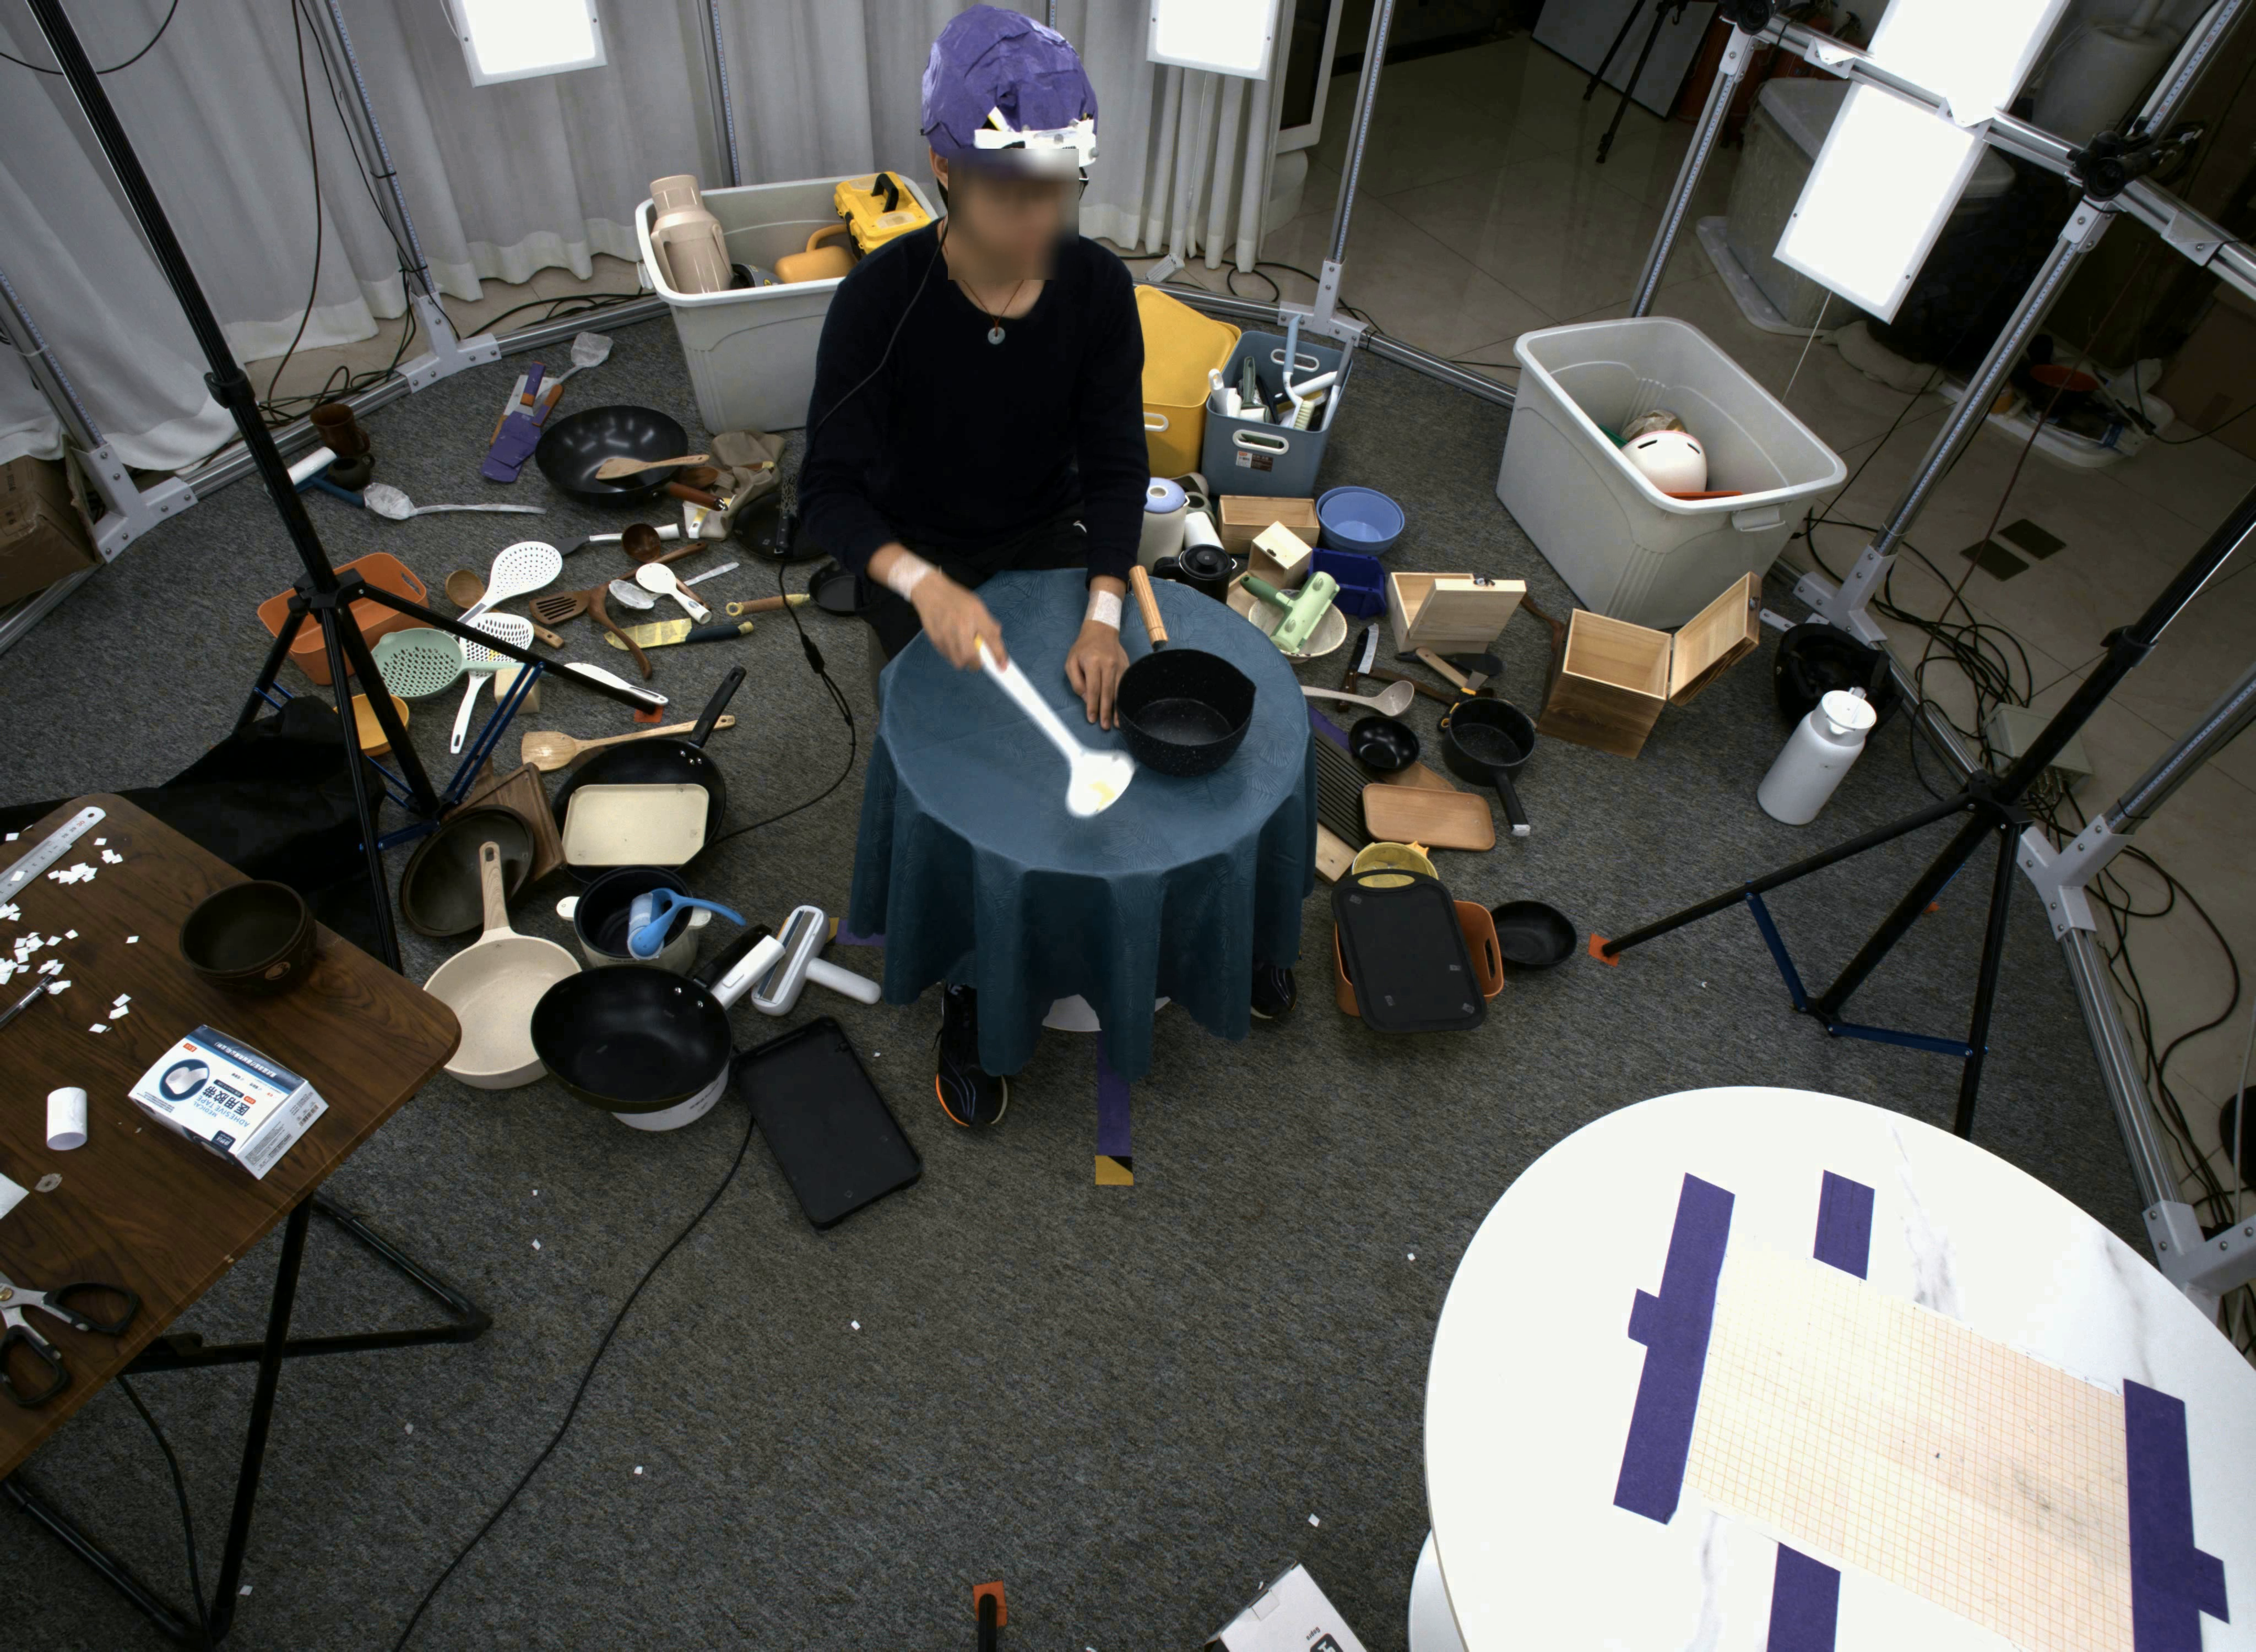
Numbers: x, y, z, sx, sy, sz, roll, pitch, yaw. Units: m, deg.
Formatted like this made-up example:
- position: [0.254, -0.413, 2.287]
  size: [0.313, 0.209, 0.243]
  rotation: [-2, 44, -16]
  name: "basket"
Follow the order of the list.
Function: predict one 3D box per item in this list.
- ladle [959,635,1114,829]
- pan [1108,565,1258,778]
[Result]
- position: [-0.123, -0.124, 1.634]
  size: [0.090, 0.070, 0.295]
  rotation: [-39, 82, 10]
  name: "ladle"
- position: [0.053, -0.216, 1.791]
  size: [0.207, 0.105, 0.351]
  rotation: [-11, 52, -12]
  name: "pan"
